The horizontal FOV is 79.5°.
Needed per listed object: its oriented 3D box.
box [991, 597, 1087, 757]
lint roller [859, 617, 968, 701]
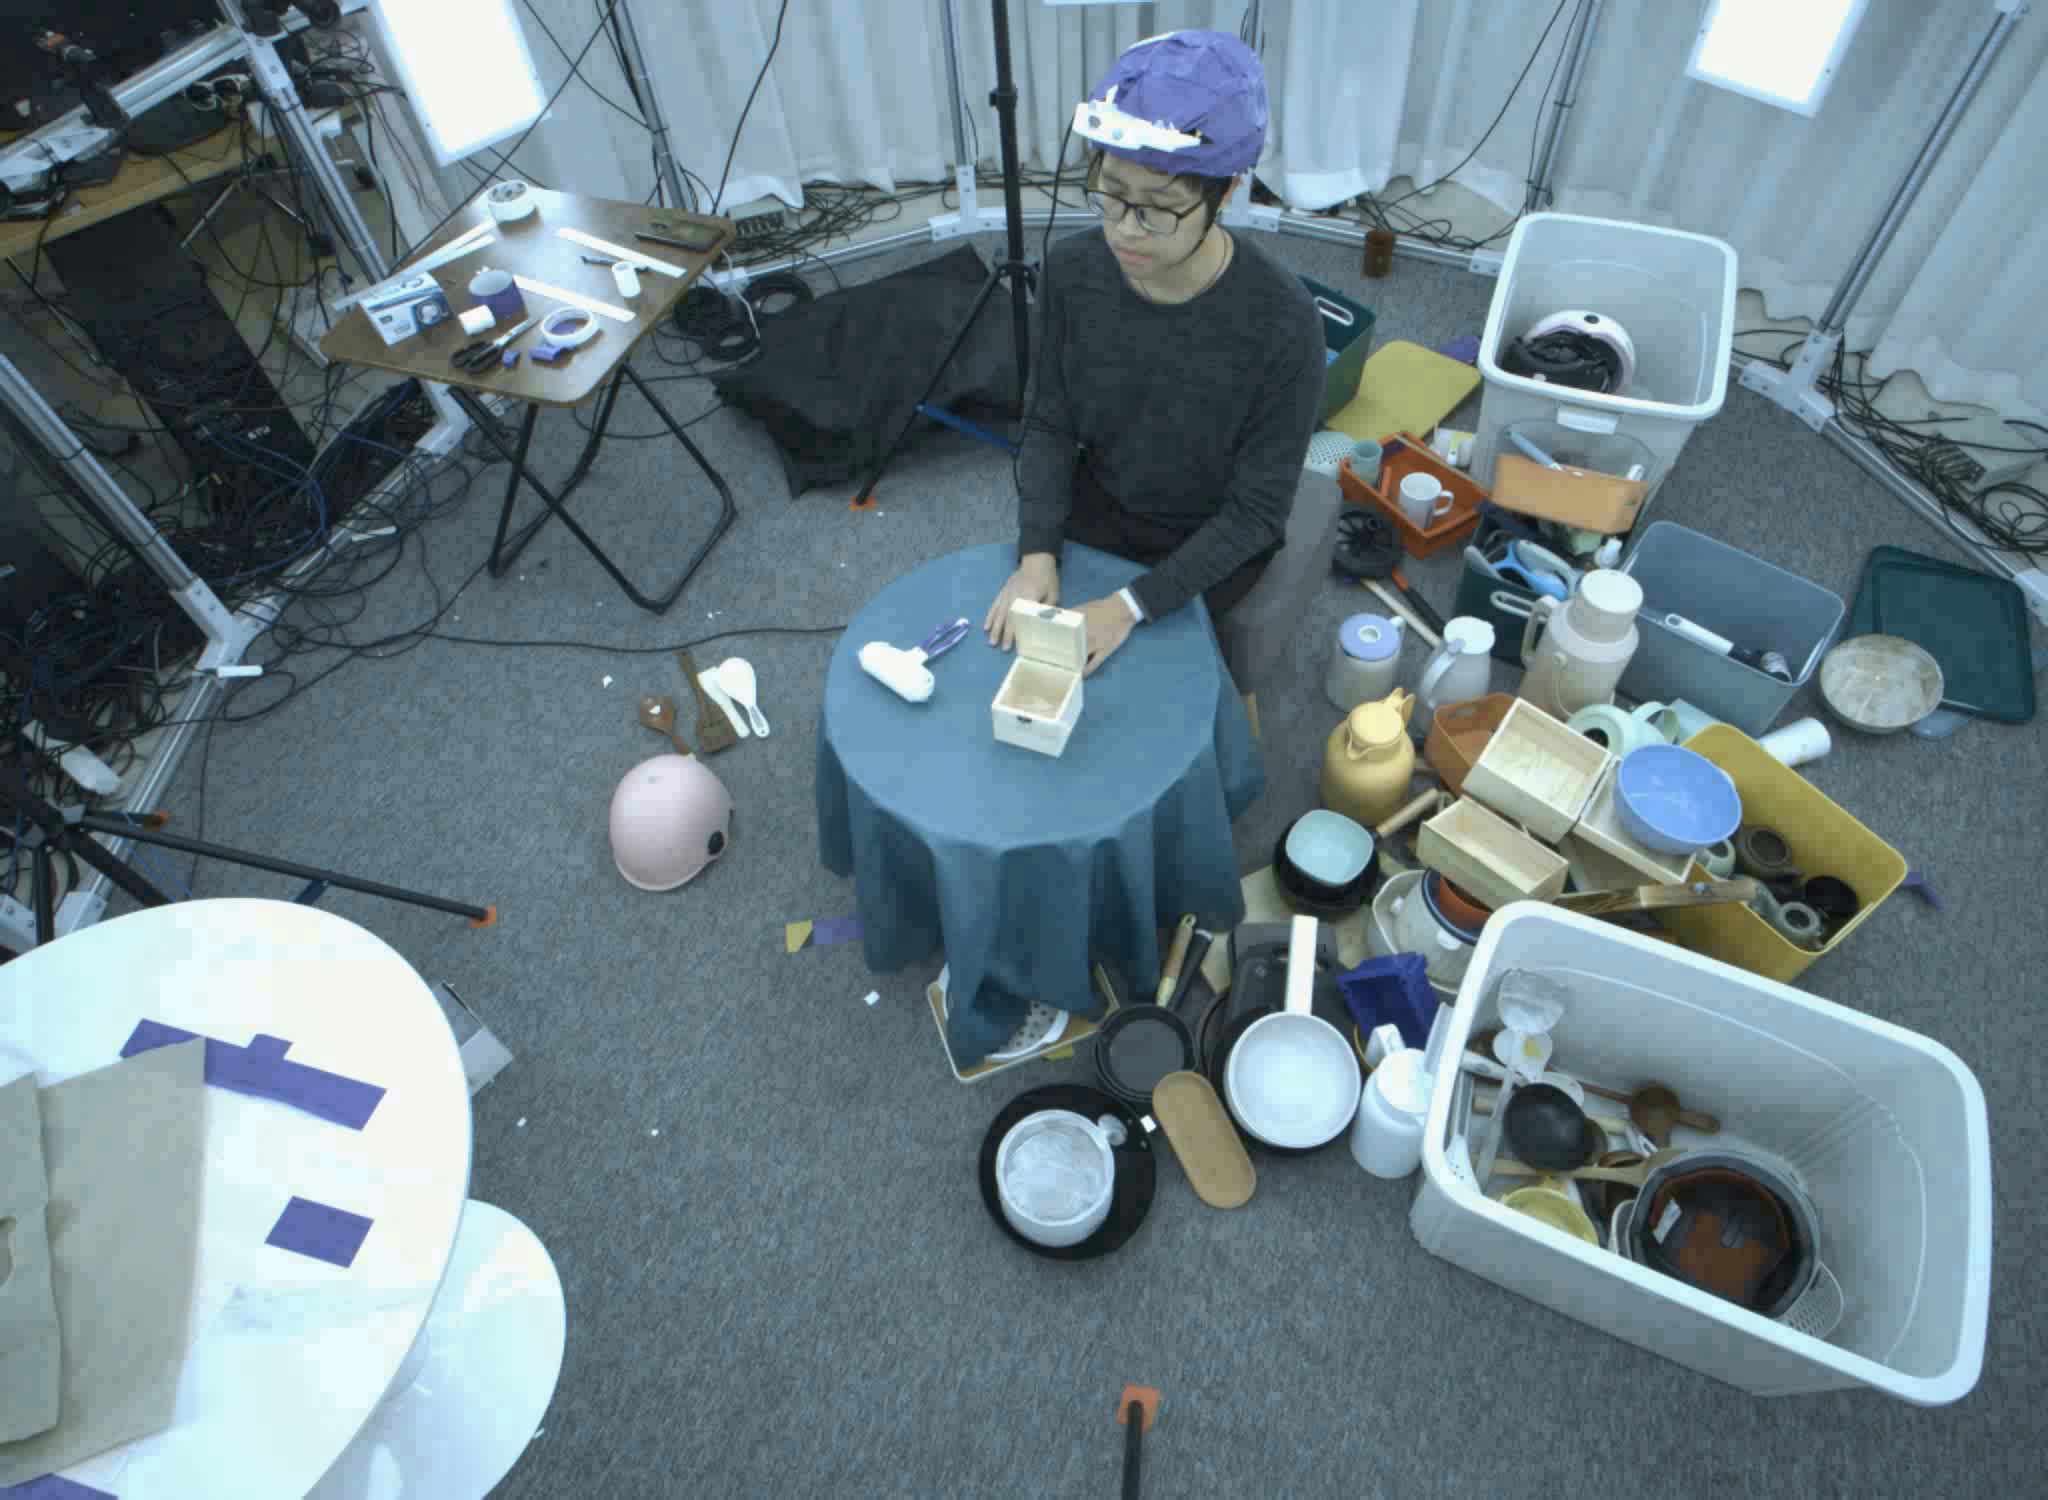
[{"bbox_3d":[0.020,-0.101,1.746,0.101,0.186,0.134,16,56,14],"label":"box"},{"bbox_3d":[-0.152,-0.158,1.875,0.130,0.051,0.182,36,65,25],"label":"lint roller"}]
